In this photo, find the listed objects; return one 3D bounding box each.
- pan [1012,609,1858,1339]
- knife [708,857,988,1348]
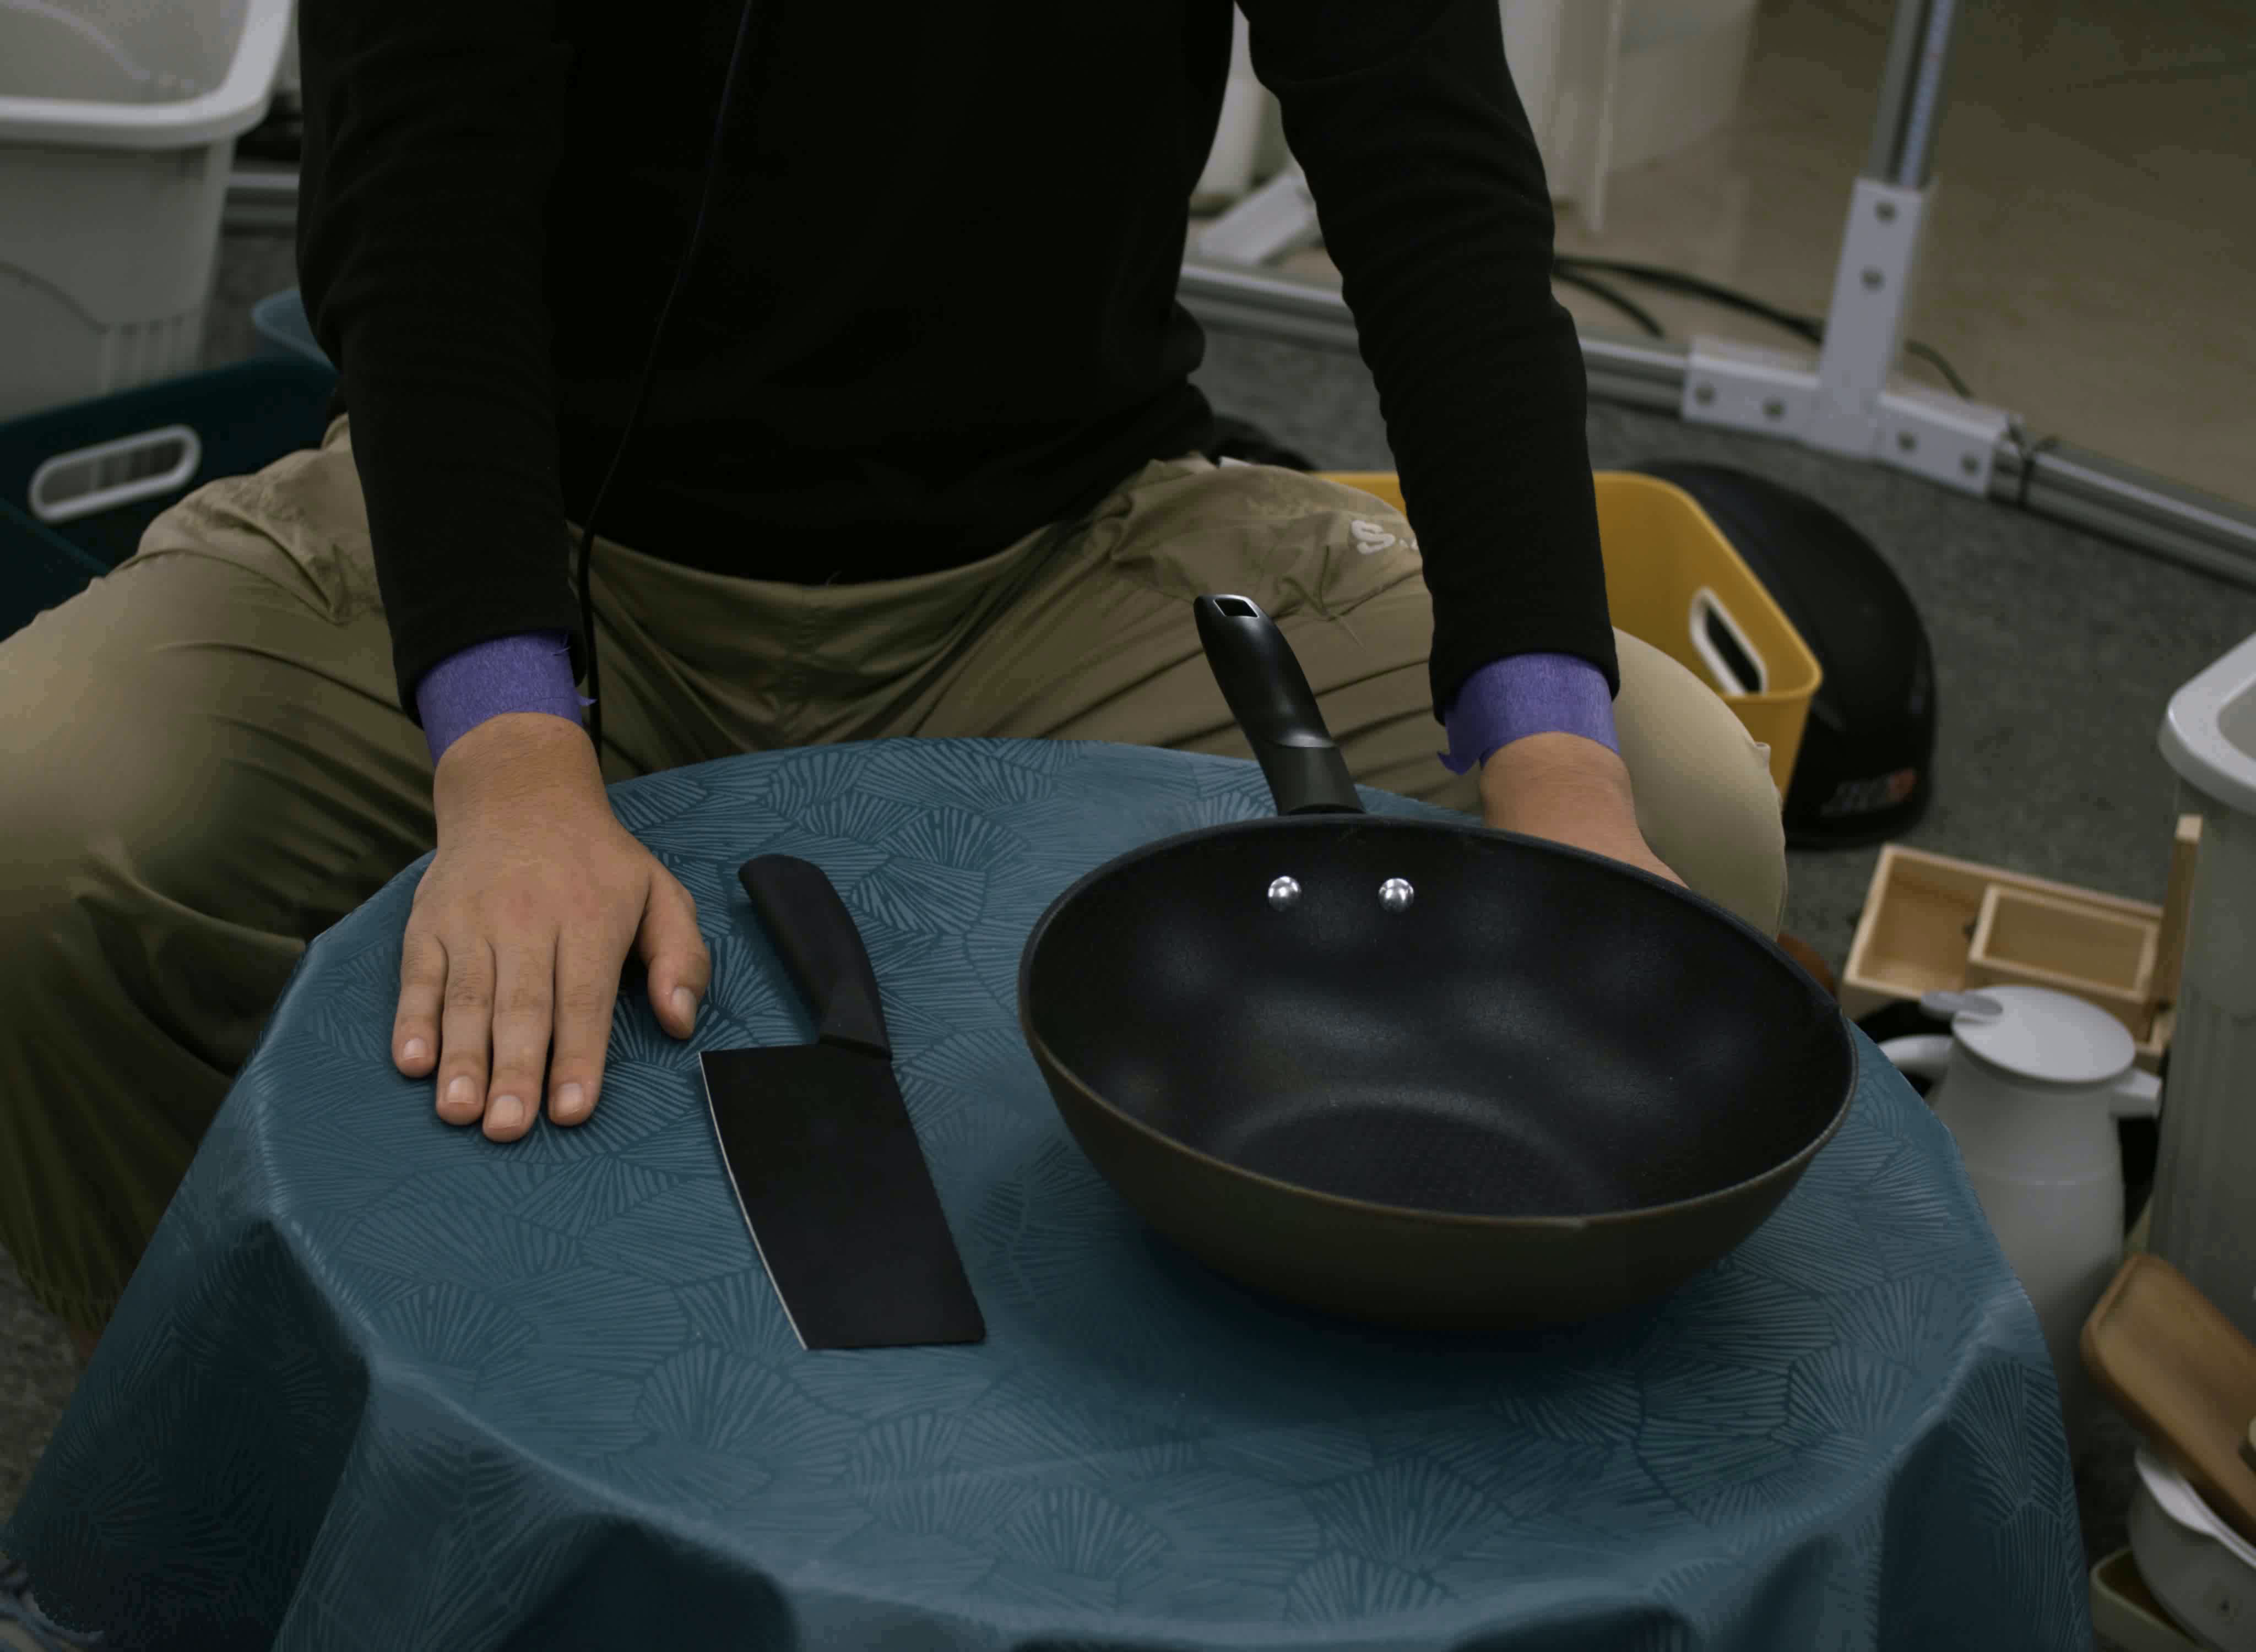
[{"bbox_3d":[0.081,0.054,1.871,0.286,0.086,0.467,0,27,-13],"label":"pan"},{"bbox_3d":[-0.105,0.092,1.829,0.080,0.021,0.305,1,29,-10],"label":"knife"}]
